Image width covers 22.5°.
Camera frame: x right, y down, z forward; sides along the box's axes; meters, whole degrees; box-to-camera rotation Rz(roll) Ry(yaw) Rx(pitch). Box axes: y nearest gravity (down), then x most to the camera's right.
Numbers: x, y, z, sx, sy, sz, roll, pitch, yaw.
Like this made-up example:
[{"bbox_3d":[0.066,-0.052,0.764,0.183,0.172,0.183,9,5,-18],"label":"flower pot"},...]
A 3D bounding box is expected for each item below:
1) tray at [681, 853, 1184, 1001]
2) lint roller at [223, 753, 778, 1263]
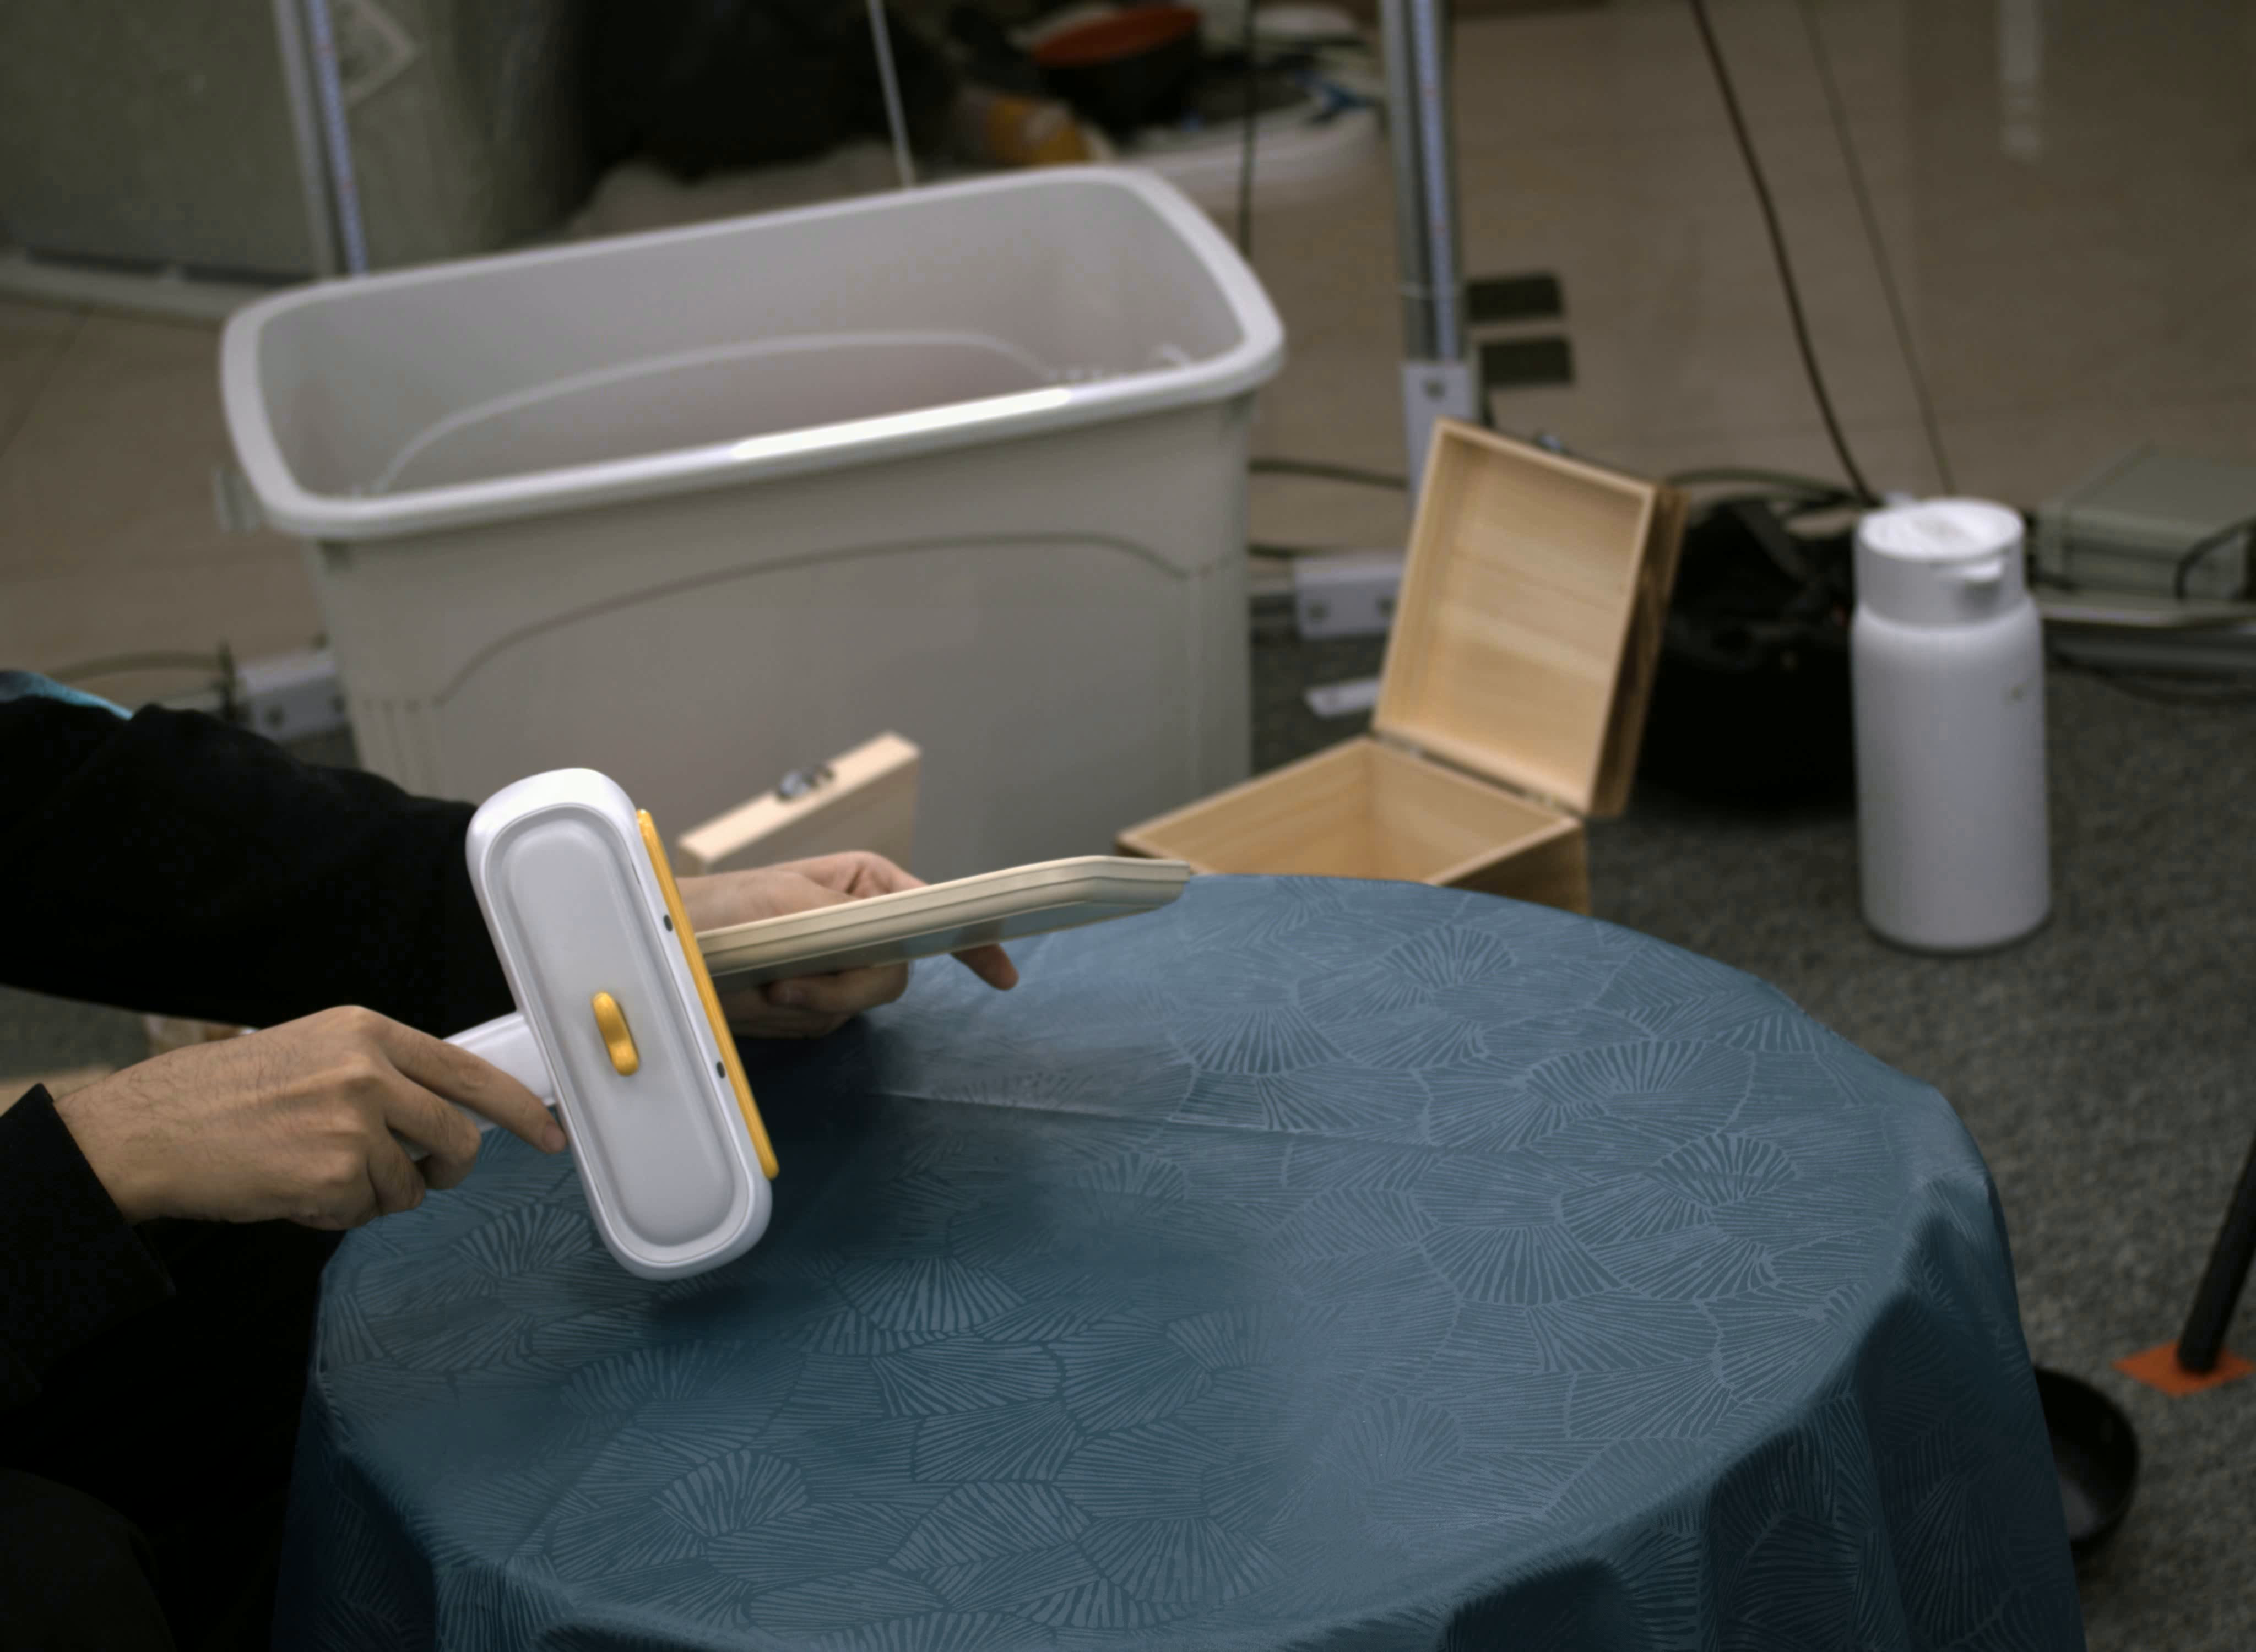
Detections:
[{"bbox_3d":[-0.105,0.043,2.175,0.240,0.017,0.171,-12,-5,17],"label":"tray"},{"bbox_3d":[-0.239,0.091,2.058,0.192,0.194,0.074,-24,12,-10],"label":"lint roller"}]
